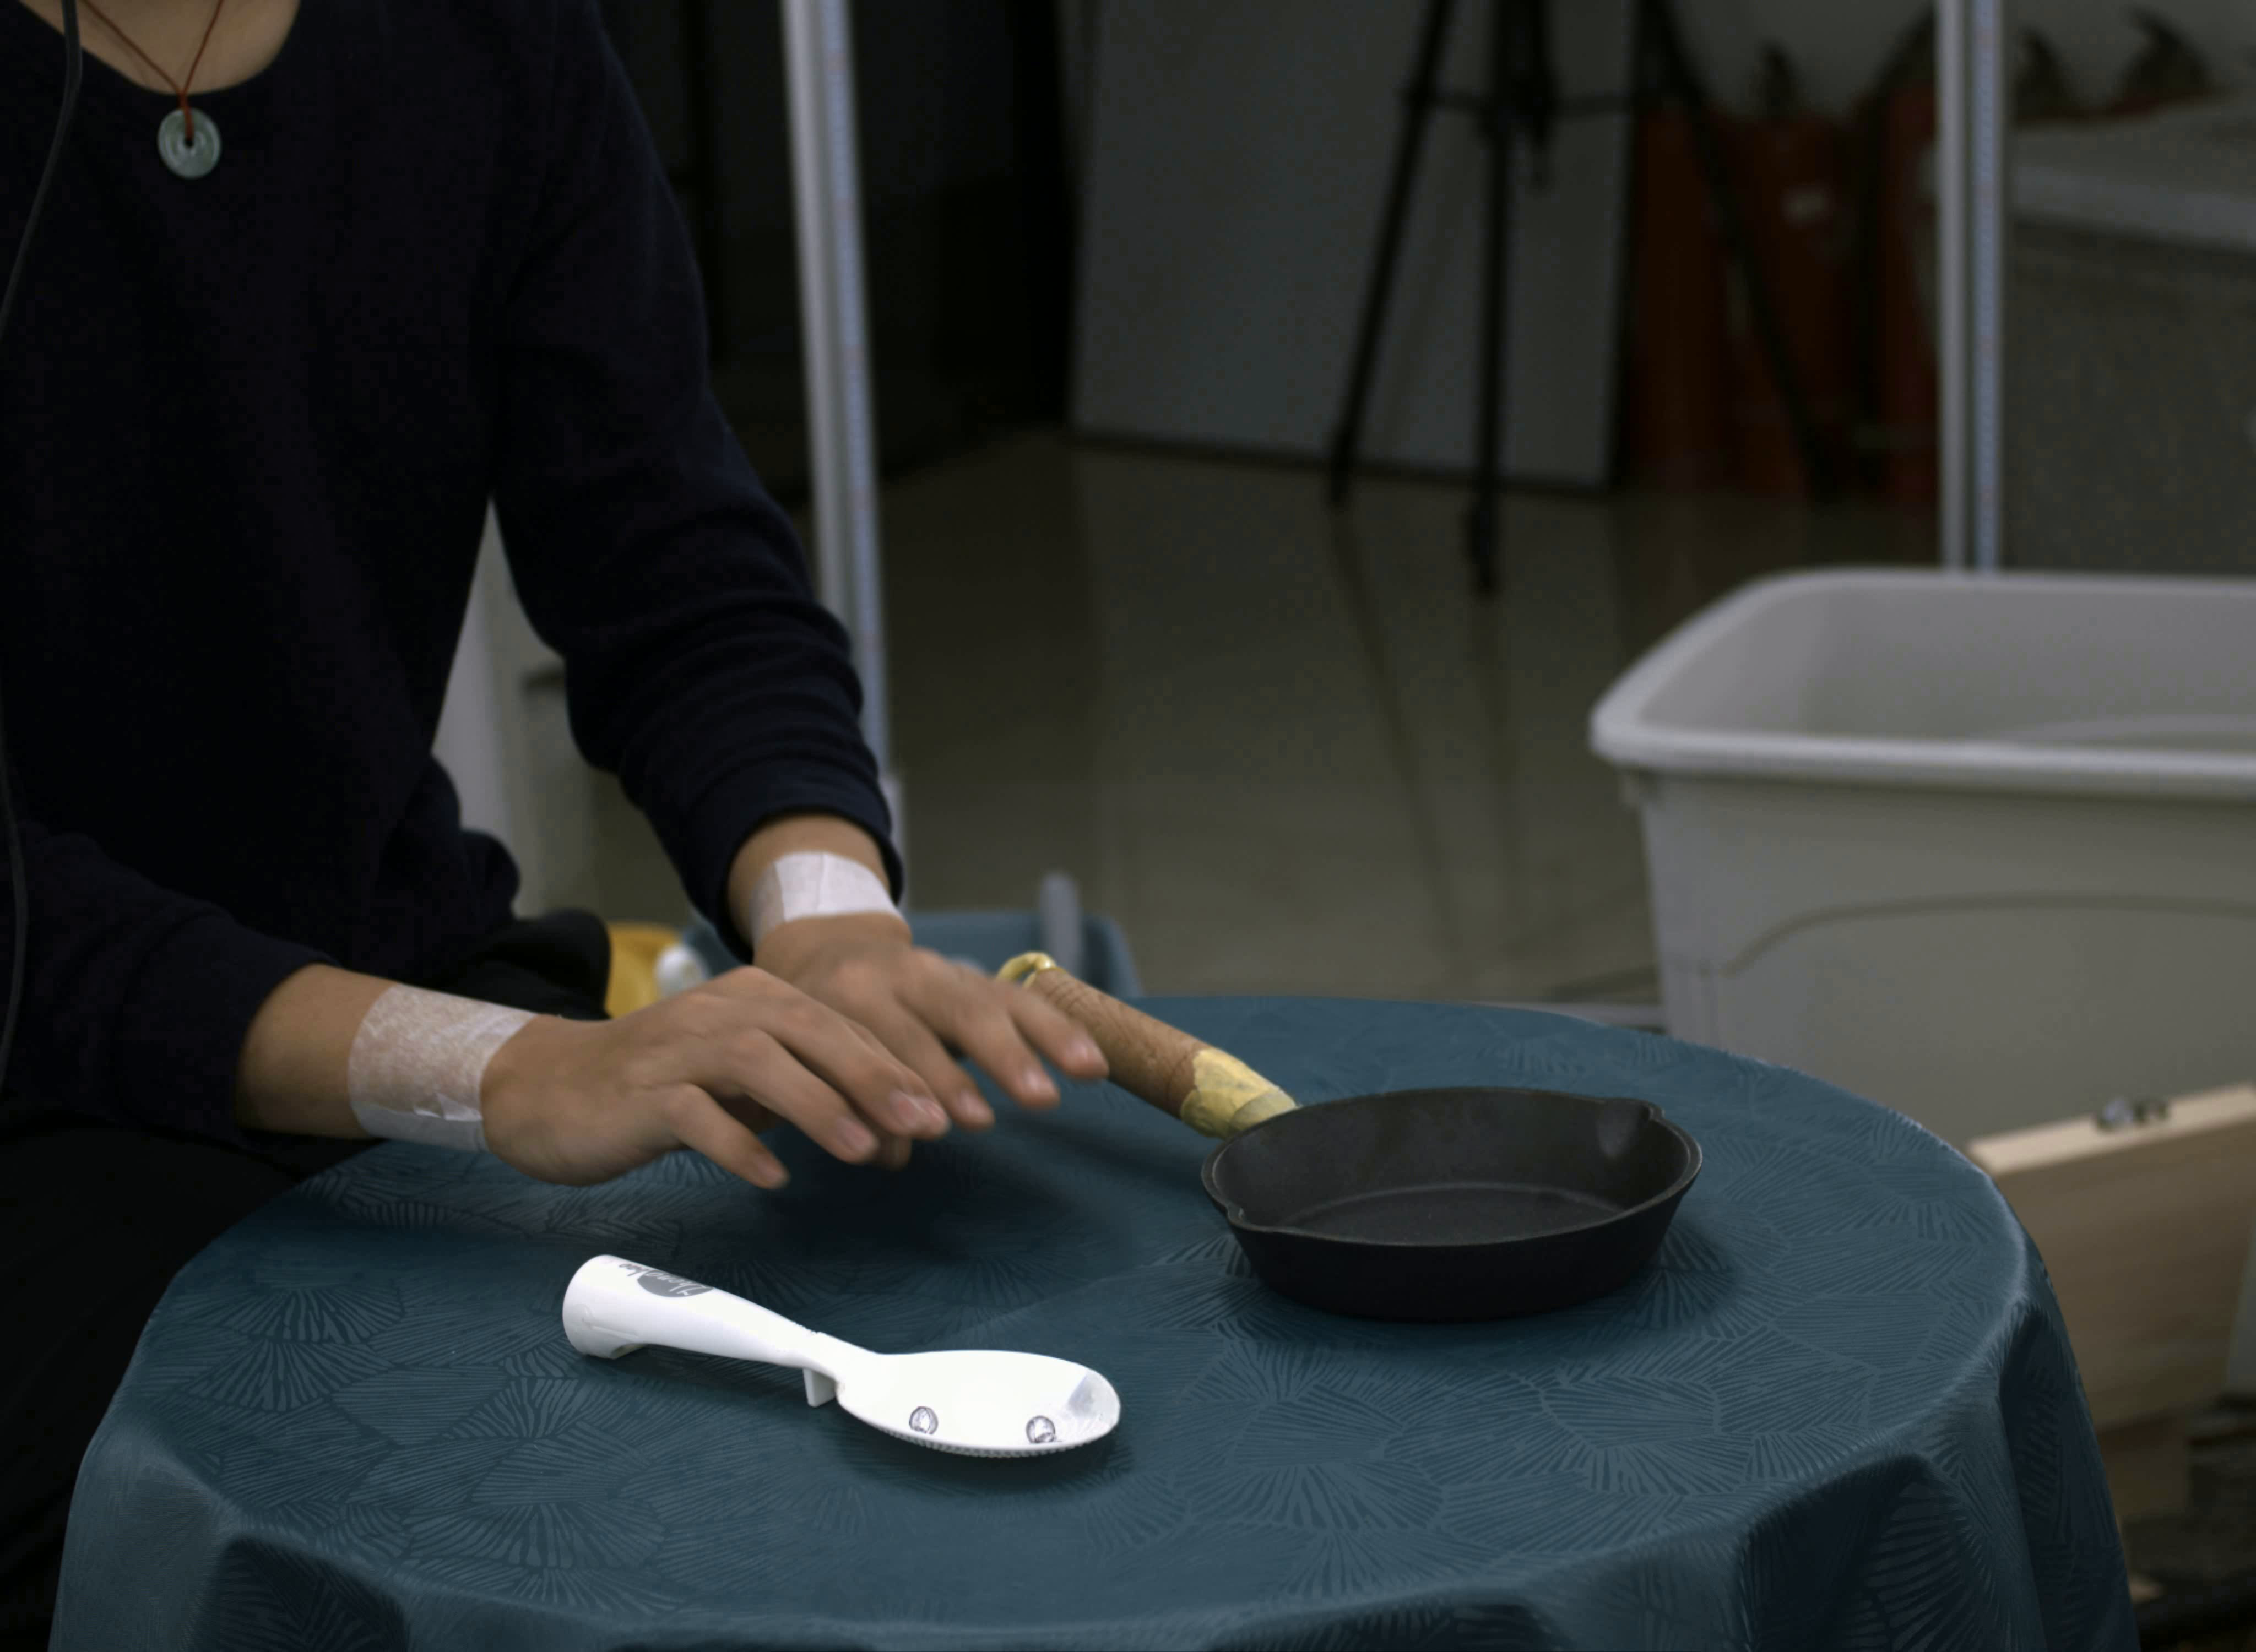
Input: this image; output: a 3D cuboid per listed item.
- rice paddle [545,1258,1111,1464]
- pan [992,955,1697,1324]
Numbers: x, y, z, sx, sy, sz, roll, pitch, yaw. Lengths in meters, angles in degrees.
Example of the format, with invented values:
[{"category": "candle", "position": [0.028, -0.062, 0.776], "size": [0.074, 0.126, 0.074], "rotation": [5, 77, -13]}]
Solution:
[{"category": "rice paddle", "position": [-0.089, 0.159, 1.595], "size": [0.207, 0.030, 0.067], "rotation": [9, 20, 39]}, {"category": "pan", "position": [0.053, 0.097, 1.747], "size": [0.165, 0.050, 0.328], "rotation": [-13, 18, -32]}]
